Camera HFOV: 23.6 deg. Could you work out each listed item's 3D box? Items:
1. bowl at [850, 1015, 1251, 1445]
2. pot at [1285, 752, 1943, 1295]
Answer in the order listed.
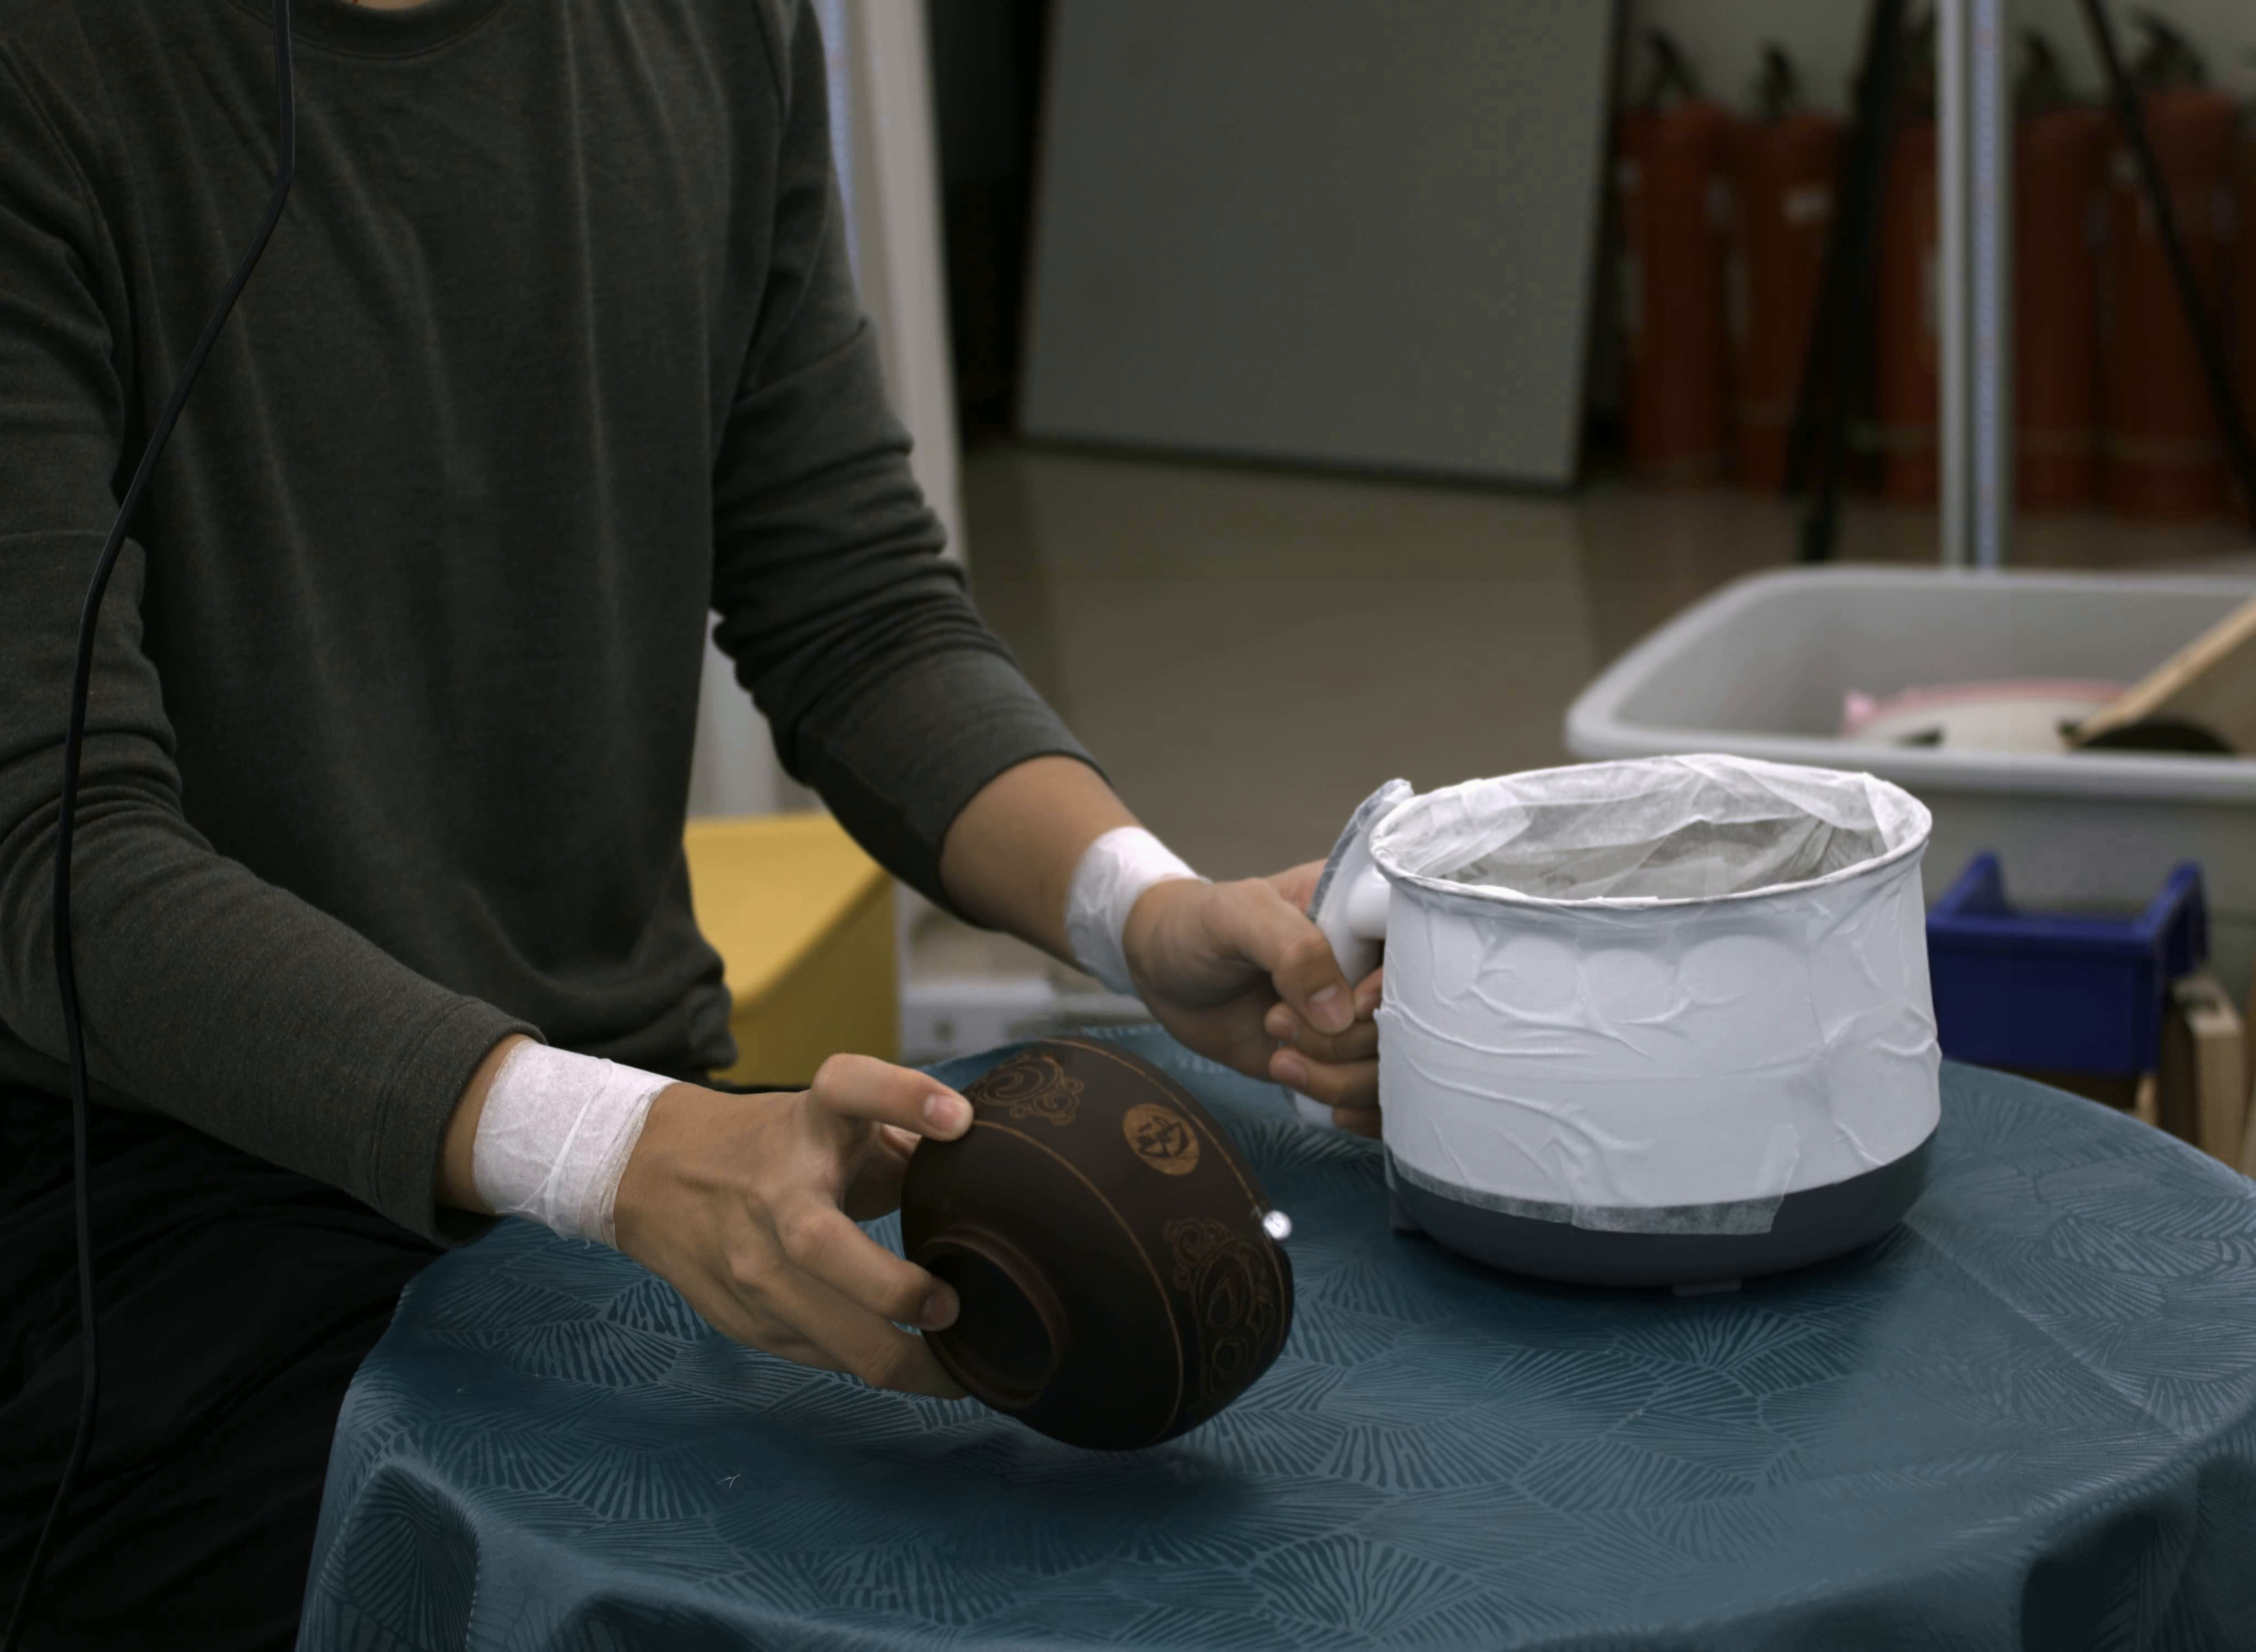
[{"bbox_3d":[-0.030,0.120,1.505,0.119,0.119,0.069,8,28,39],"label":"bowl"},{"bbox_3d":[0.145,0.058,1.704,0.235,0.138,0.175,5,16,39],"label":"pot"}]
